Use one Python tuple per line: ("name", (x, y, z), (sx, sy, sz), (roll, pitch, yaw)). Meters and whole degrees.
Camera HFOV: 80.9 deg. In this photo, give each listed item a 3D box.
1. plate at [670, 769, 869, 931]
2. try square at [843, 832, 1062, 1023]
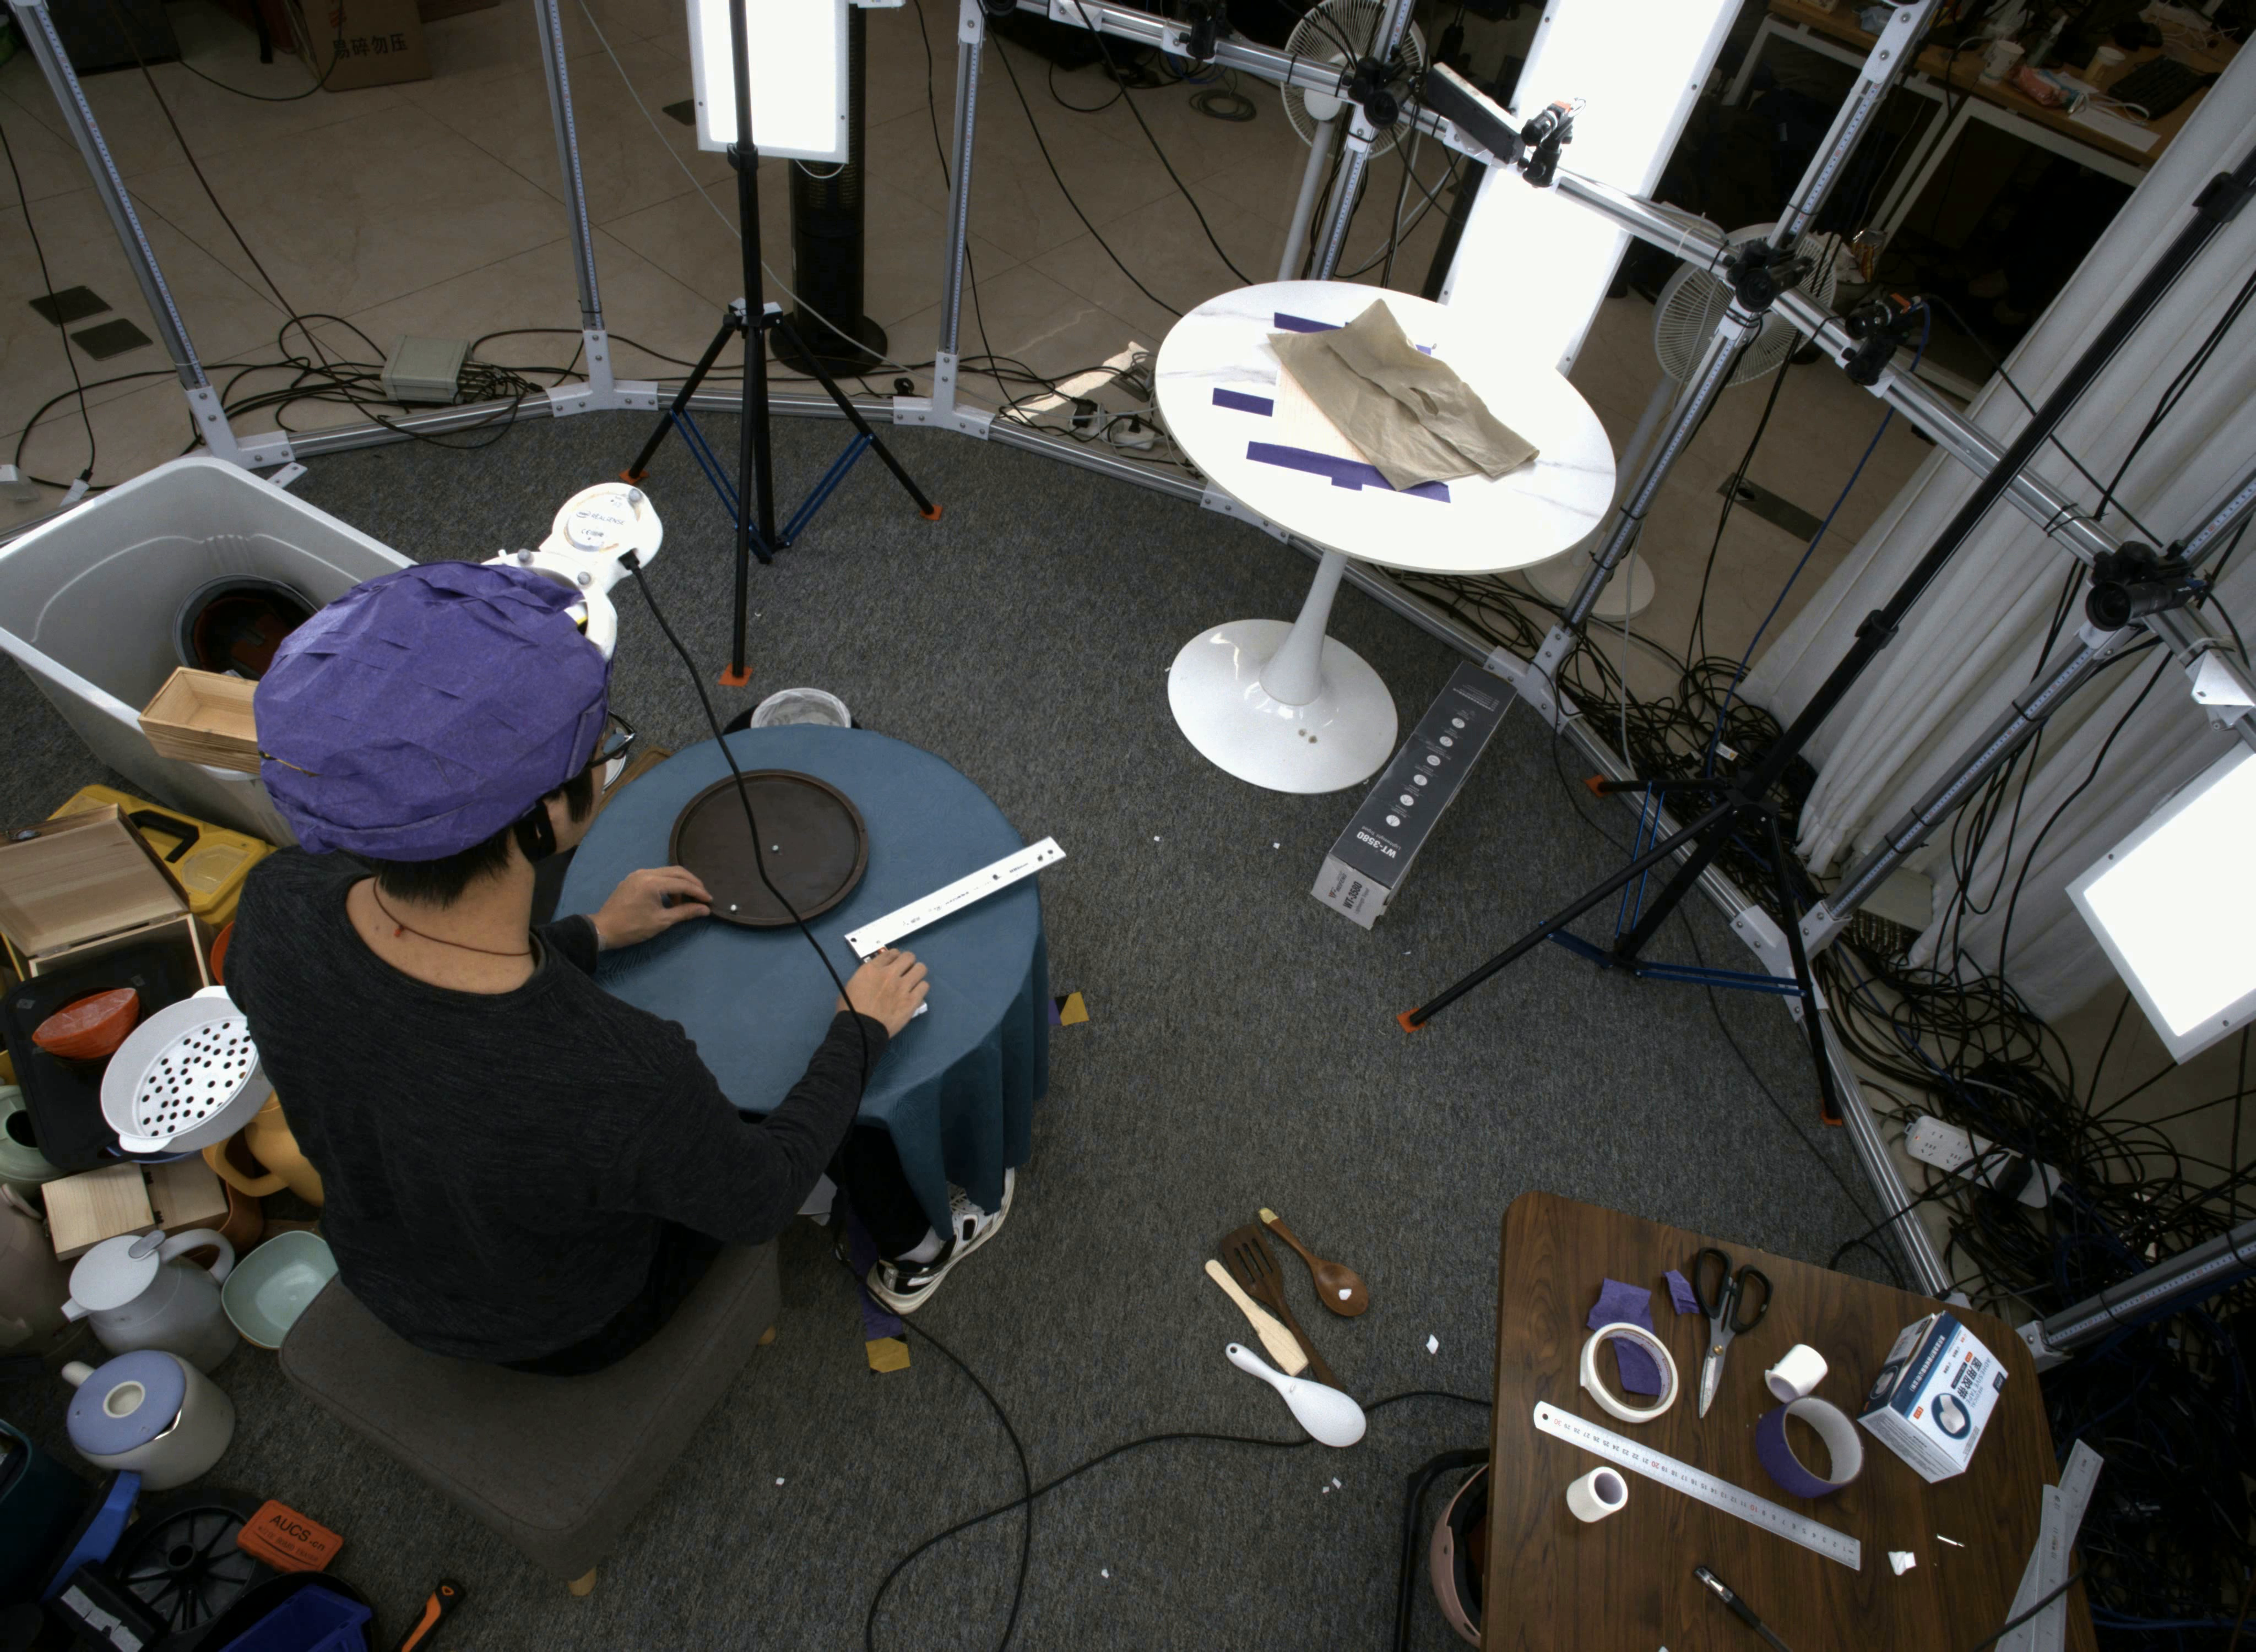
("plate", (-0.462, 0.028, 1.673), (0.254, 0.029, 0.250), (9, 52, -10))
("try square", (-0.192, 0.120, 1.659), (0.314, 0.016, 0.148), (-27, 59, -26))
